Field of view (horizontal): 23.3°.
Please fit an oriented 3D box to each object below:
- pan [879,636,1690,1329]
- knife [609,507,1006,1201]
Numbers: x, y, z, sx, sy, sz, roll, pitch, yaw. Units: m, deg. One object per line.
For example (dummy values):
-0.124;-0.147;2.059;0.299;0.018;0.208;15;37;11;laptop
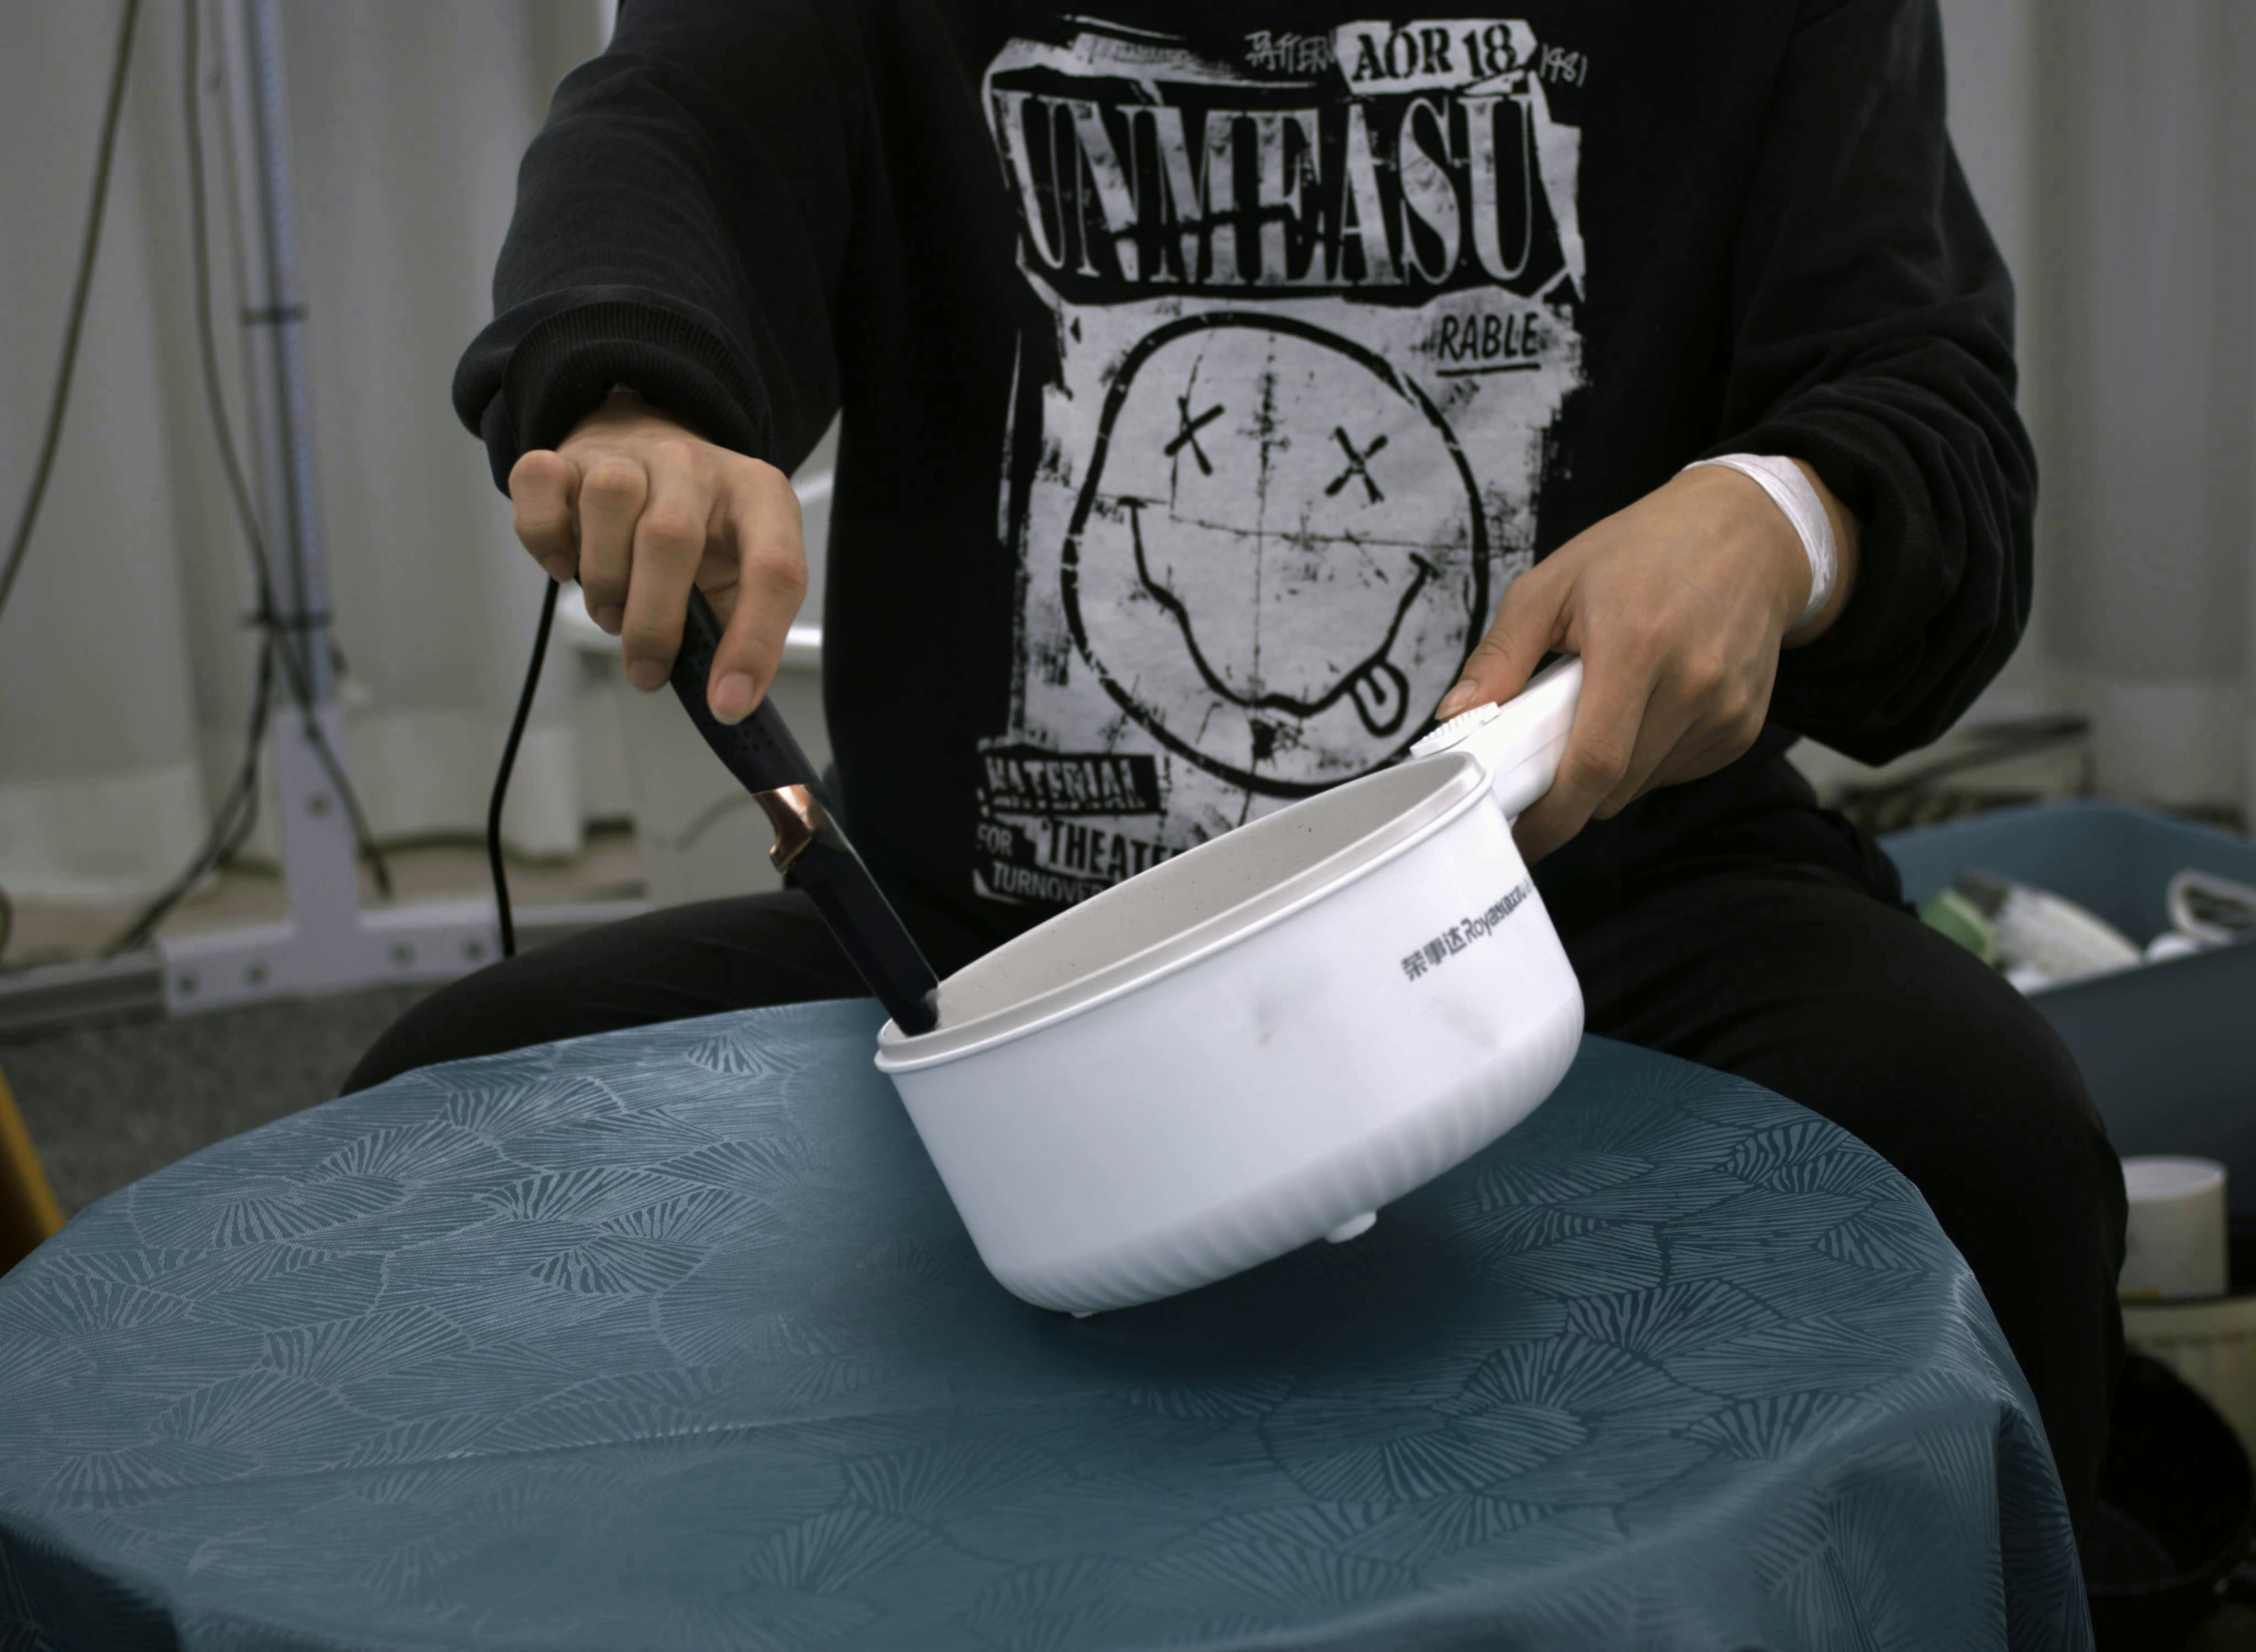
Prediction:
0.079;0.043;1.664;0.200;0.102;0.355;-23;4;41;pan
-0.088;0.007;1.572;0.026;0.227;0.017;-32;-8;8;knife
